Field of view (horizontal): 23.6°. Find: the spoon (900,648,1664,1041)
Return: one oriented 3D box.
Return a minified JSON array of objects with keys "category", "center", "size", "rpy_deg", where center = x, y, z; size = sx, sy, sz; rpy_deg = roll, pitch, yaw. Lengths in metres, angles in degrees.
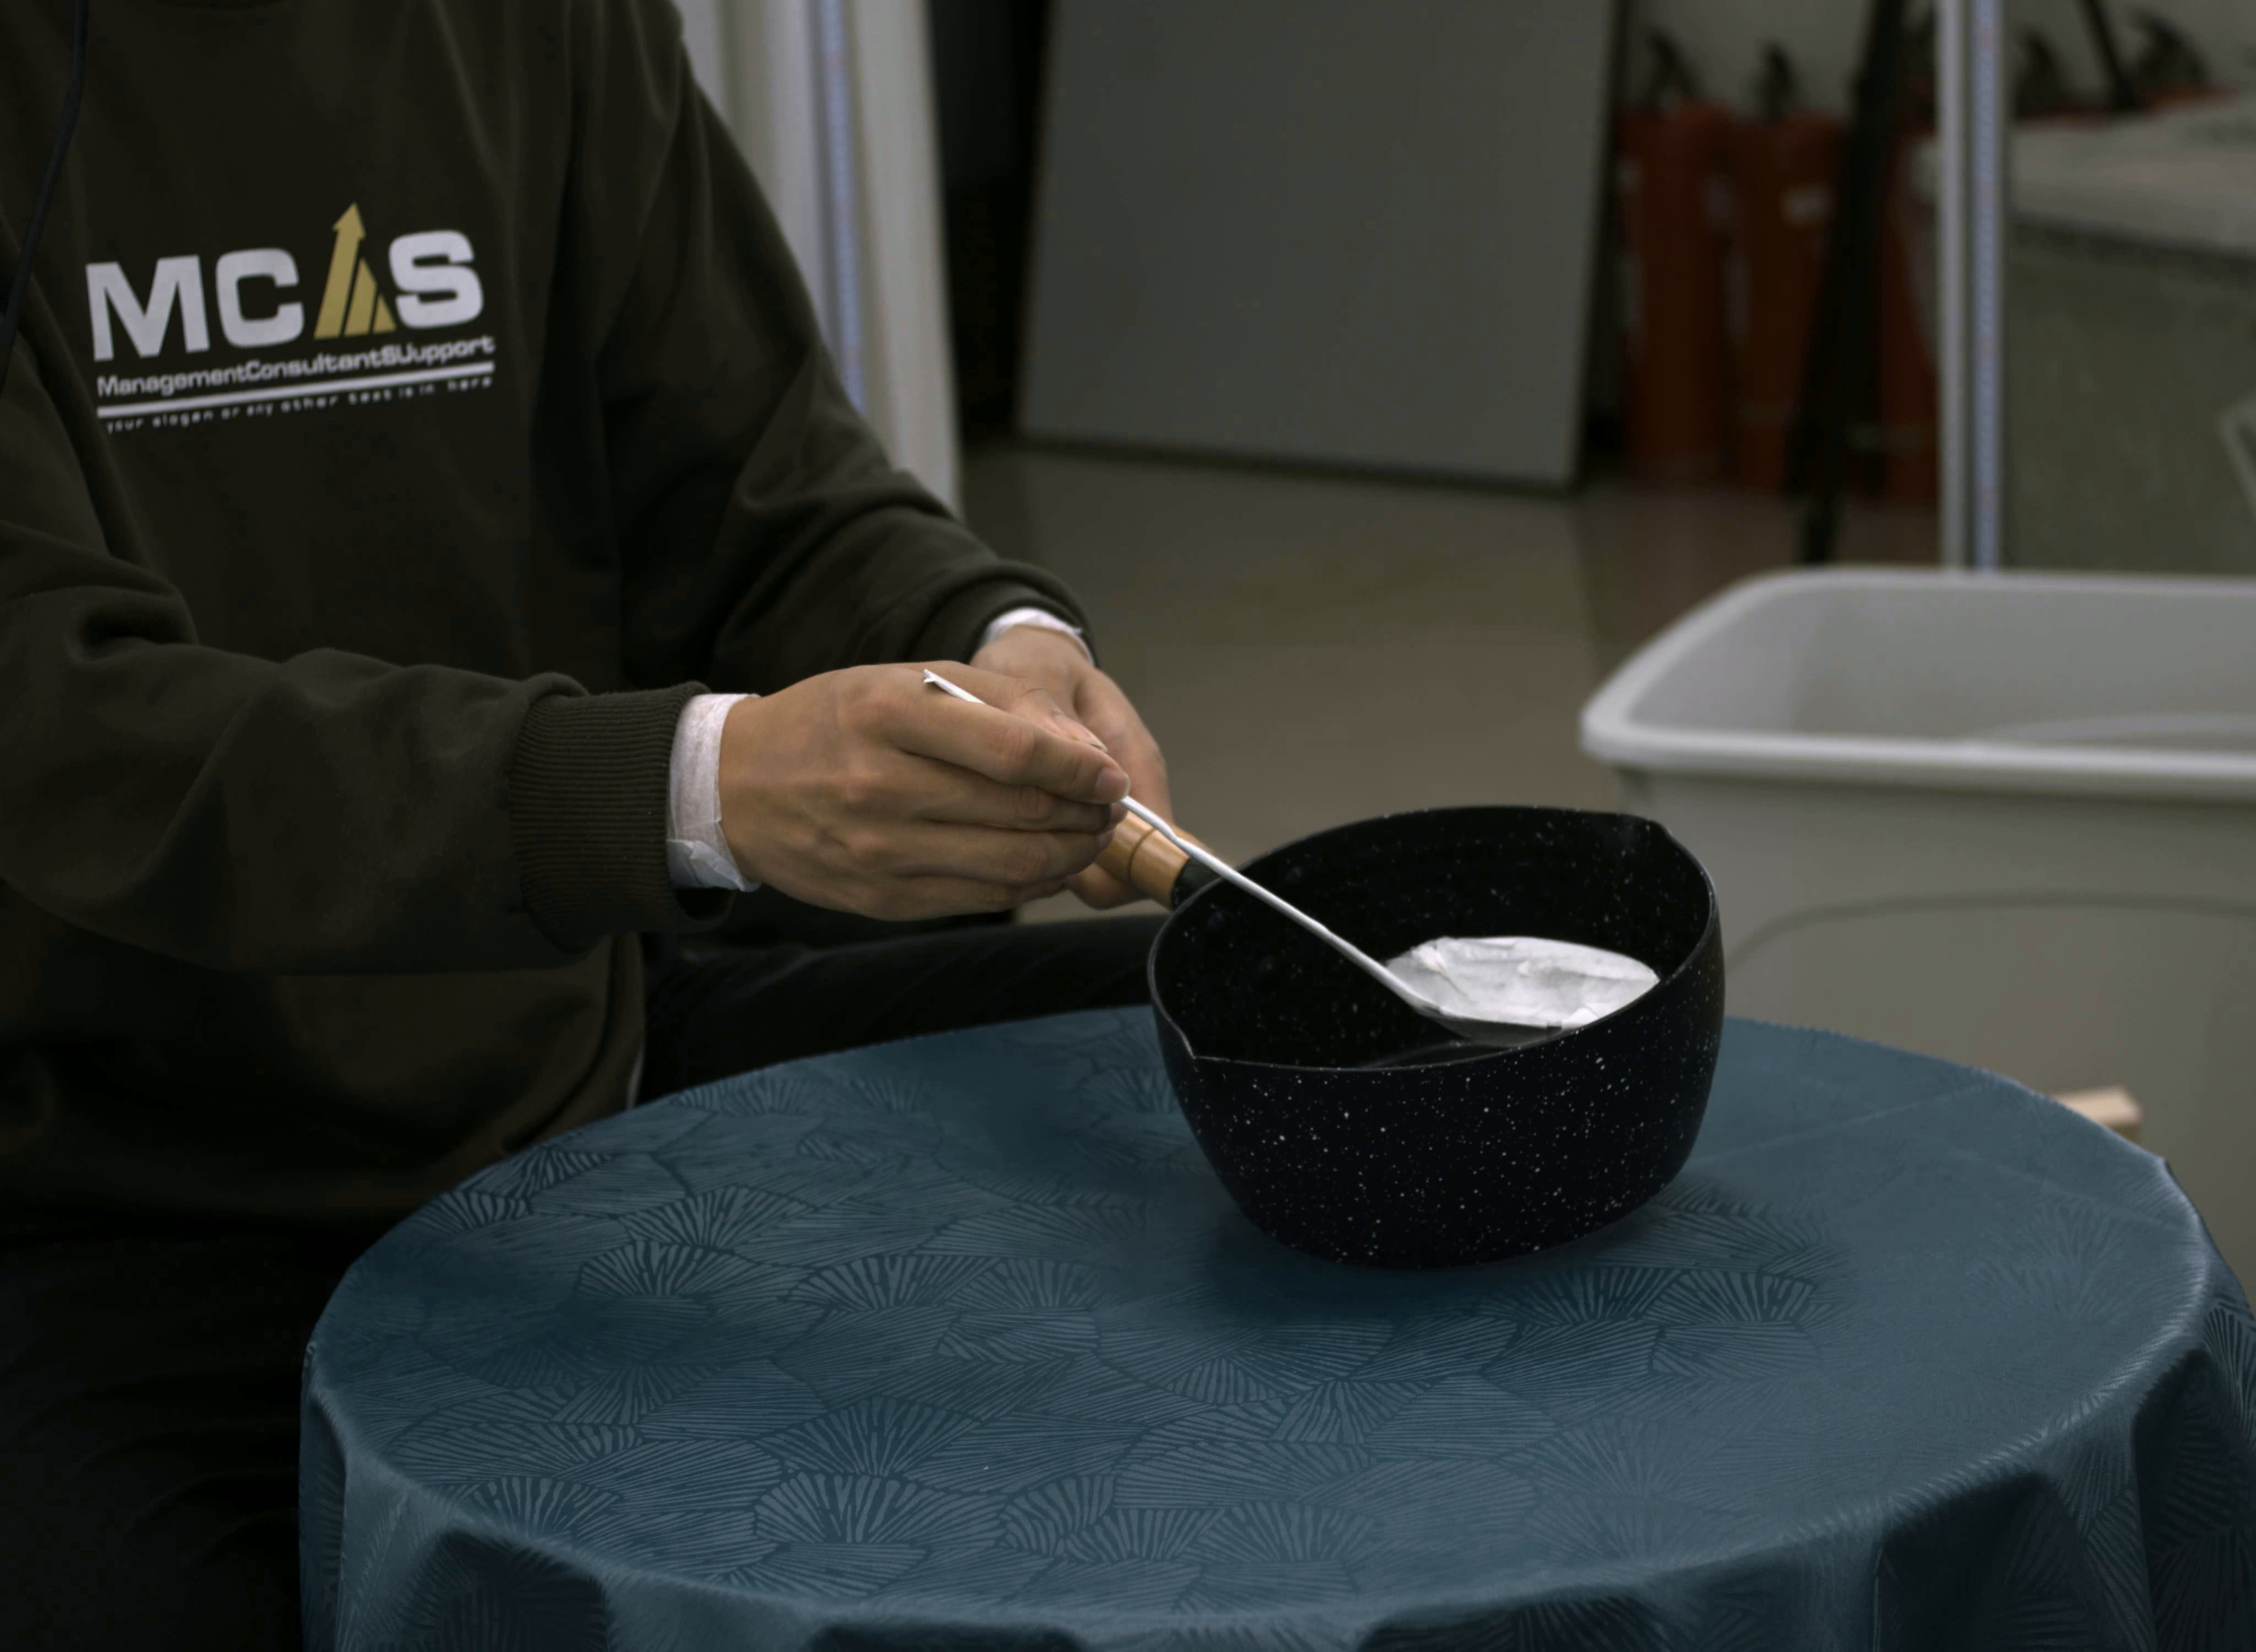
[{"category":"spoon","center":[0.051,-0.003,1.685],"size":[0.274,0.060,0.101],"rpy_deg":[34,0,-19]}]

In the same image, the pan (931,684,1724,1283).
[{"category":"pan","center":[0.049,0.042,1.775],"size":[0.204,0.109,0.346],"rpy_deg":[-28,31,-32]}]
